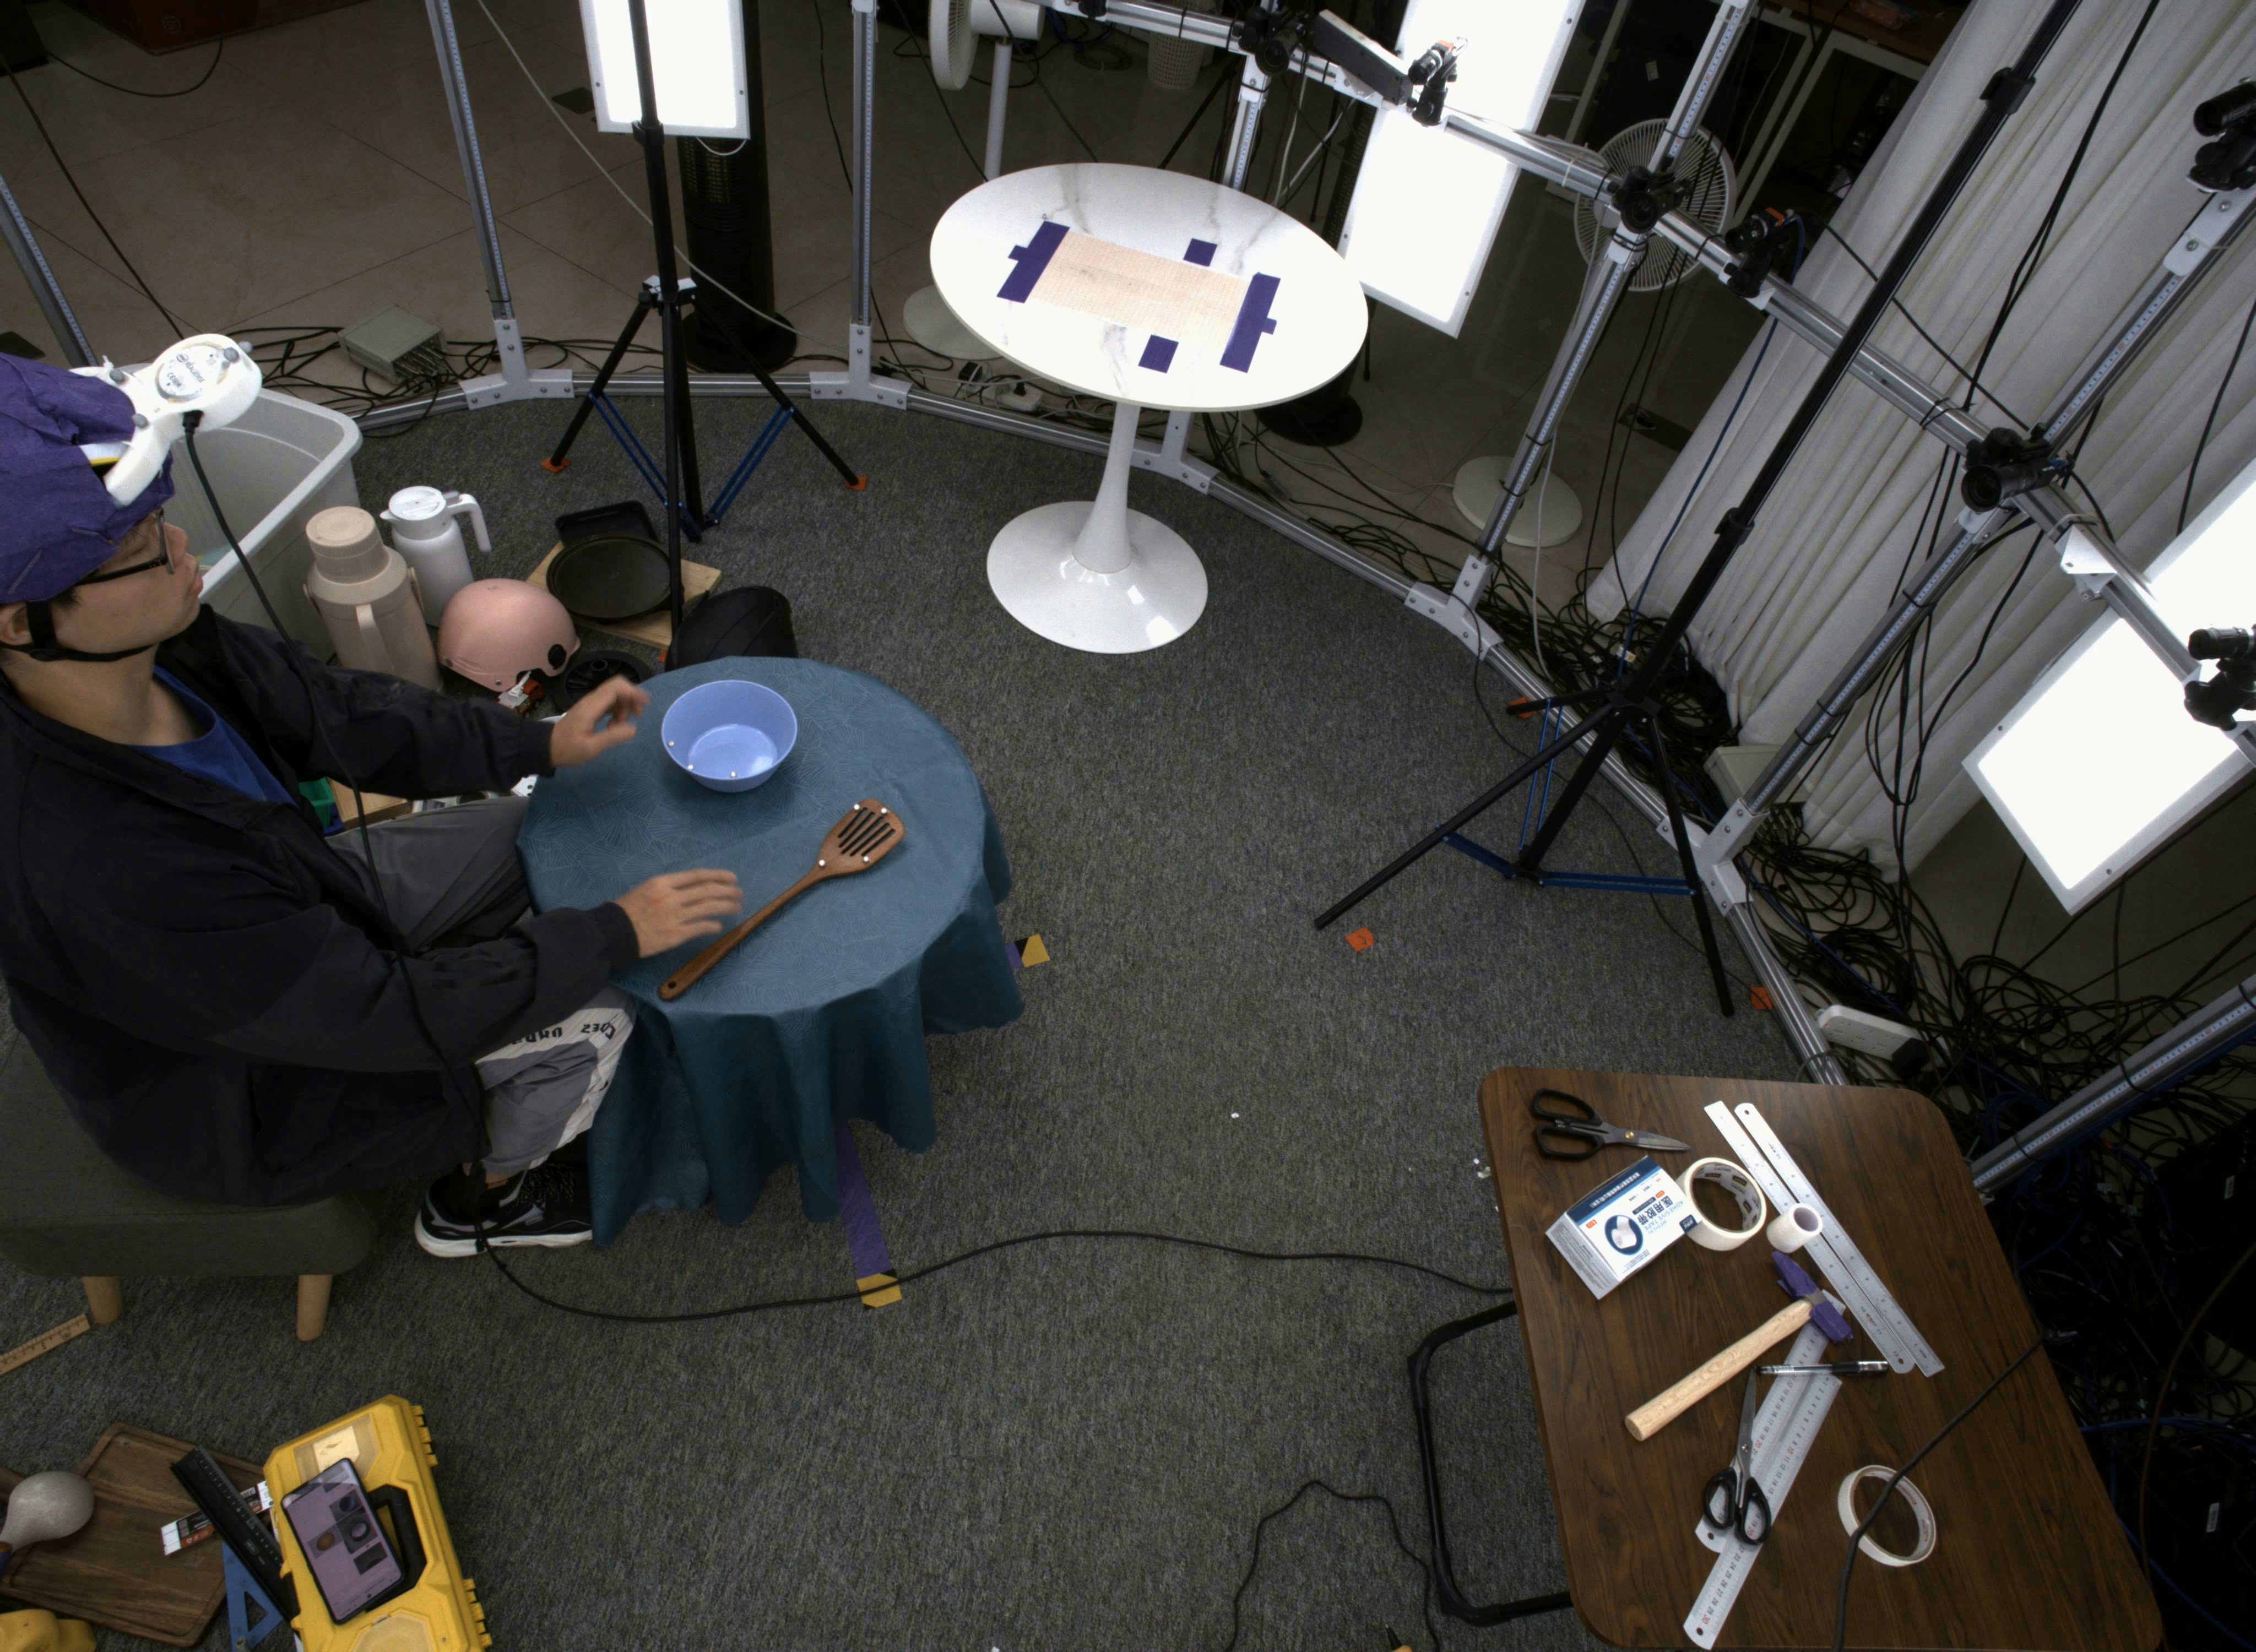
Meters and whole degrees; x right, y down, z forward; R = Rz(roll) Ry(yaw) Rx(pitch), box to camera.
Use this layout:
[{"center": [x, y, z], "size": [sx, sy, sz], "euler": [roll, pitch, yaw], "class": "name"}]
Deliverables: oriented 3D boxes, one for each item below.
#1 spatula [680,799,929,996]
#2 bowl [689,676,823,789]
[{"center": [-0.413, 0.092, 1.656], "size": [0.084, 0.024, 0.387], "euler": [39, 56, 16], "class": "spatula"}, {"center": [-0.502, -0.117, 1.755], "size": [0.175, 0.072, 0.173], "euler": [7, 53, -7], "class": "bowl"}]
